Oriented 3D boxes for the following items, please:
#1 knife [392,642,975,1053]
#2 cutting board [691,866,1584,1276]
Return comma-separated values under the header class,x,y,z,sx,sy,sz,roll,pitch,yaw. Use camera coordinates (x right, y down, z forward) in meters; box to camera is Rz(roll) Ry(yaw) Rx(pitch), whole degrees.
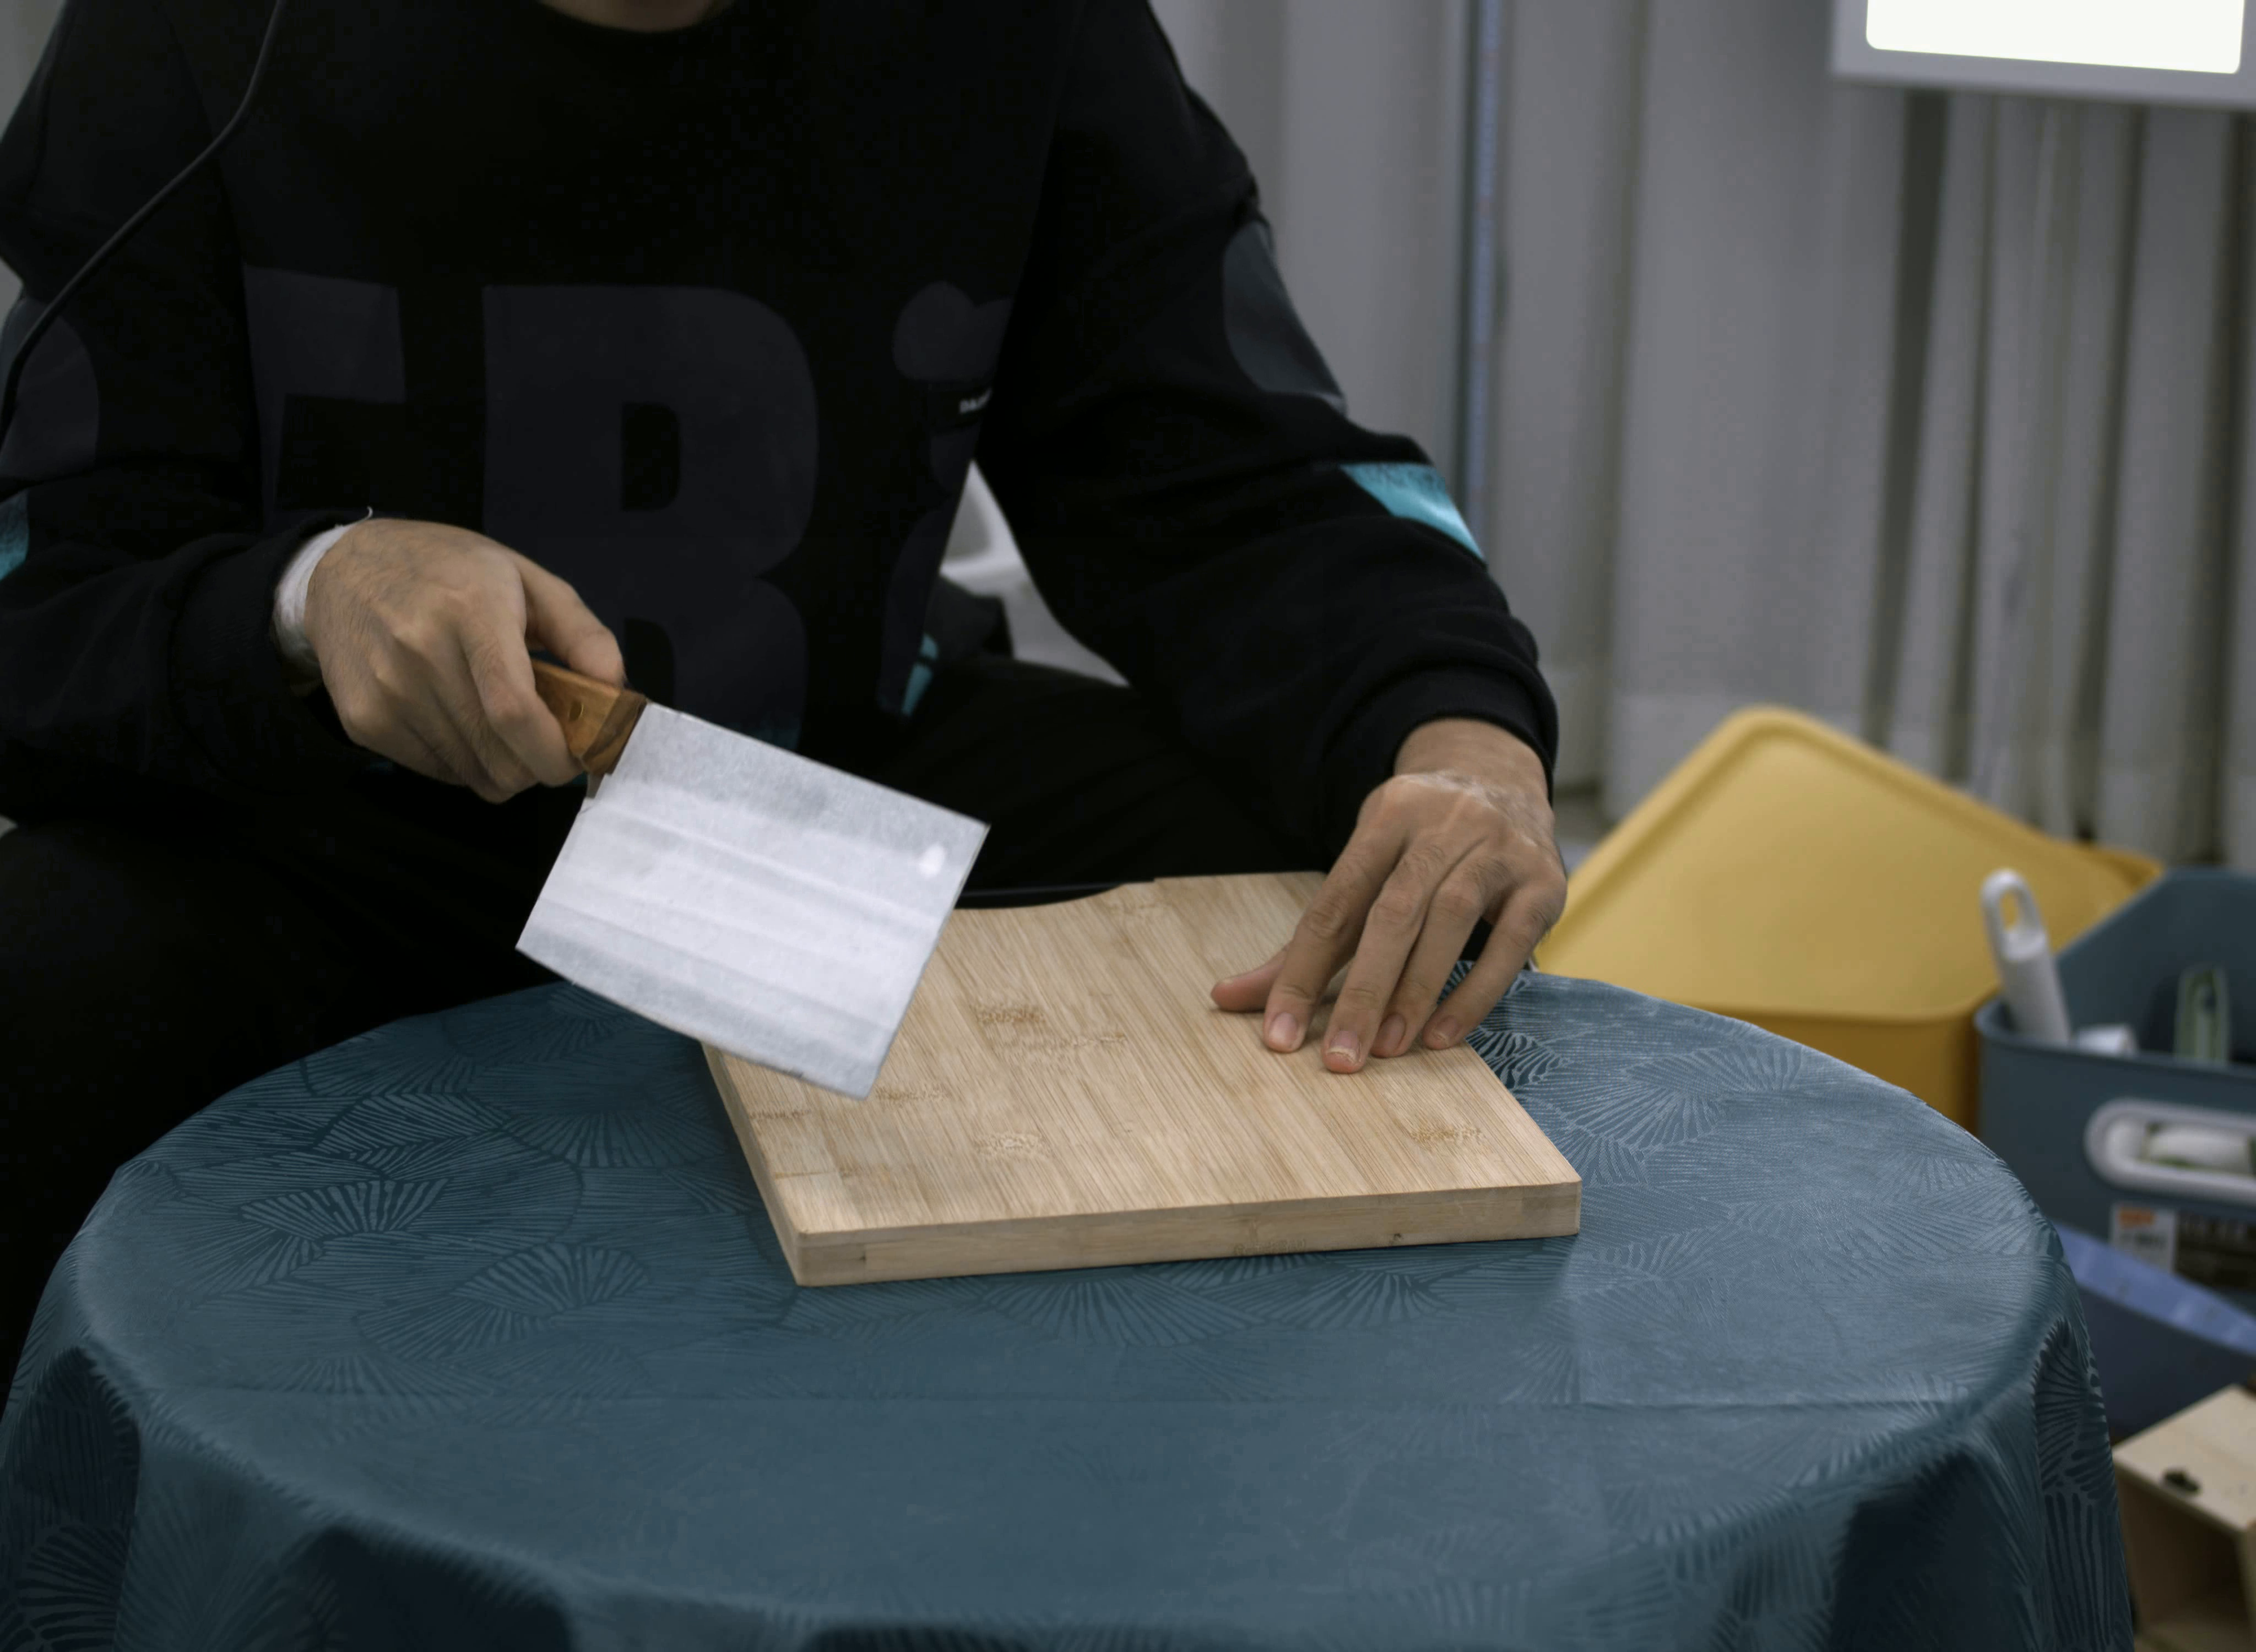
class,x,y,z,sx,sy,sz,roll,pitch,yaw
knife,-0.153,0.007,1.643,0.021,0.093,0.301,27,-5,-41
cutting board,-0.013,0.075,1.724,0.251,0.024,0.345,-3,16,-12
